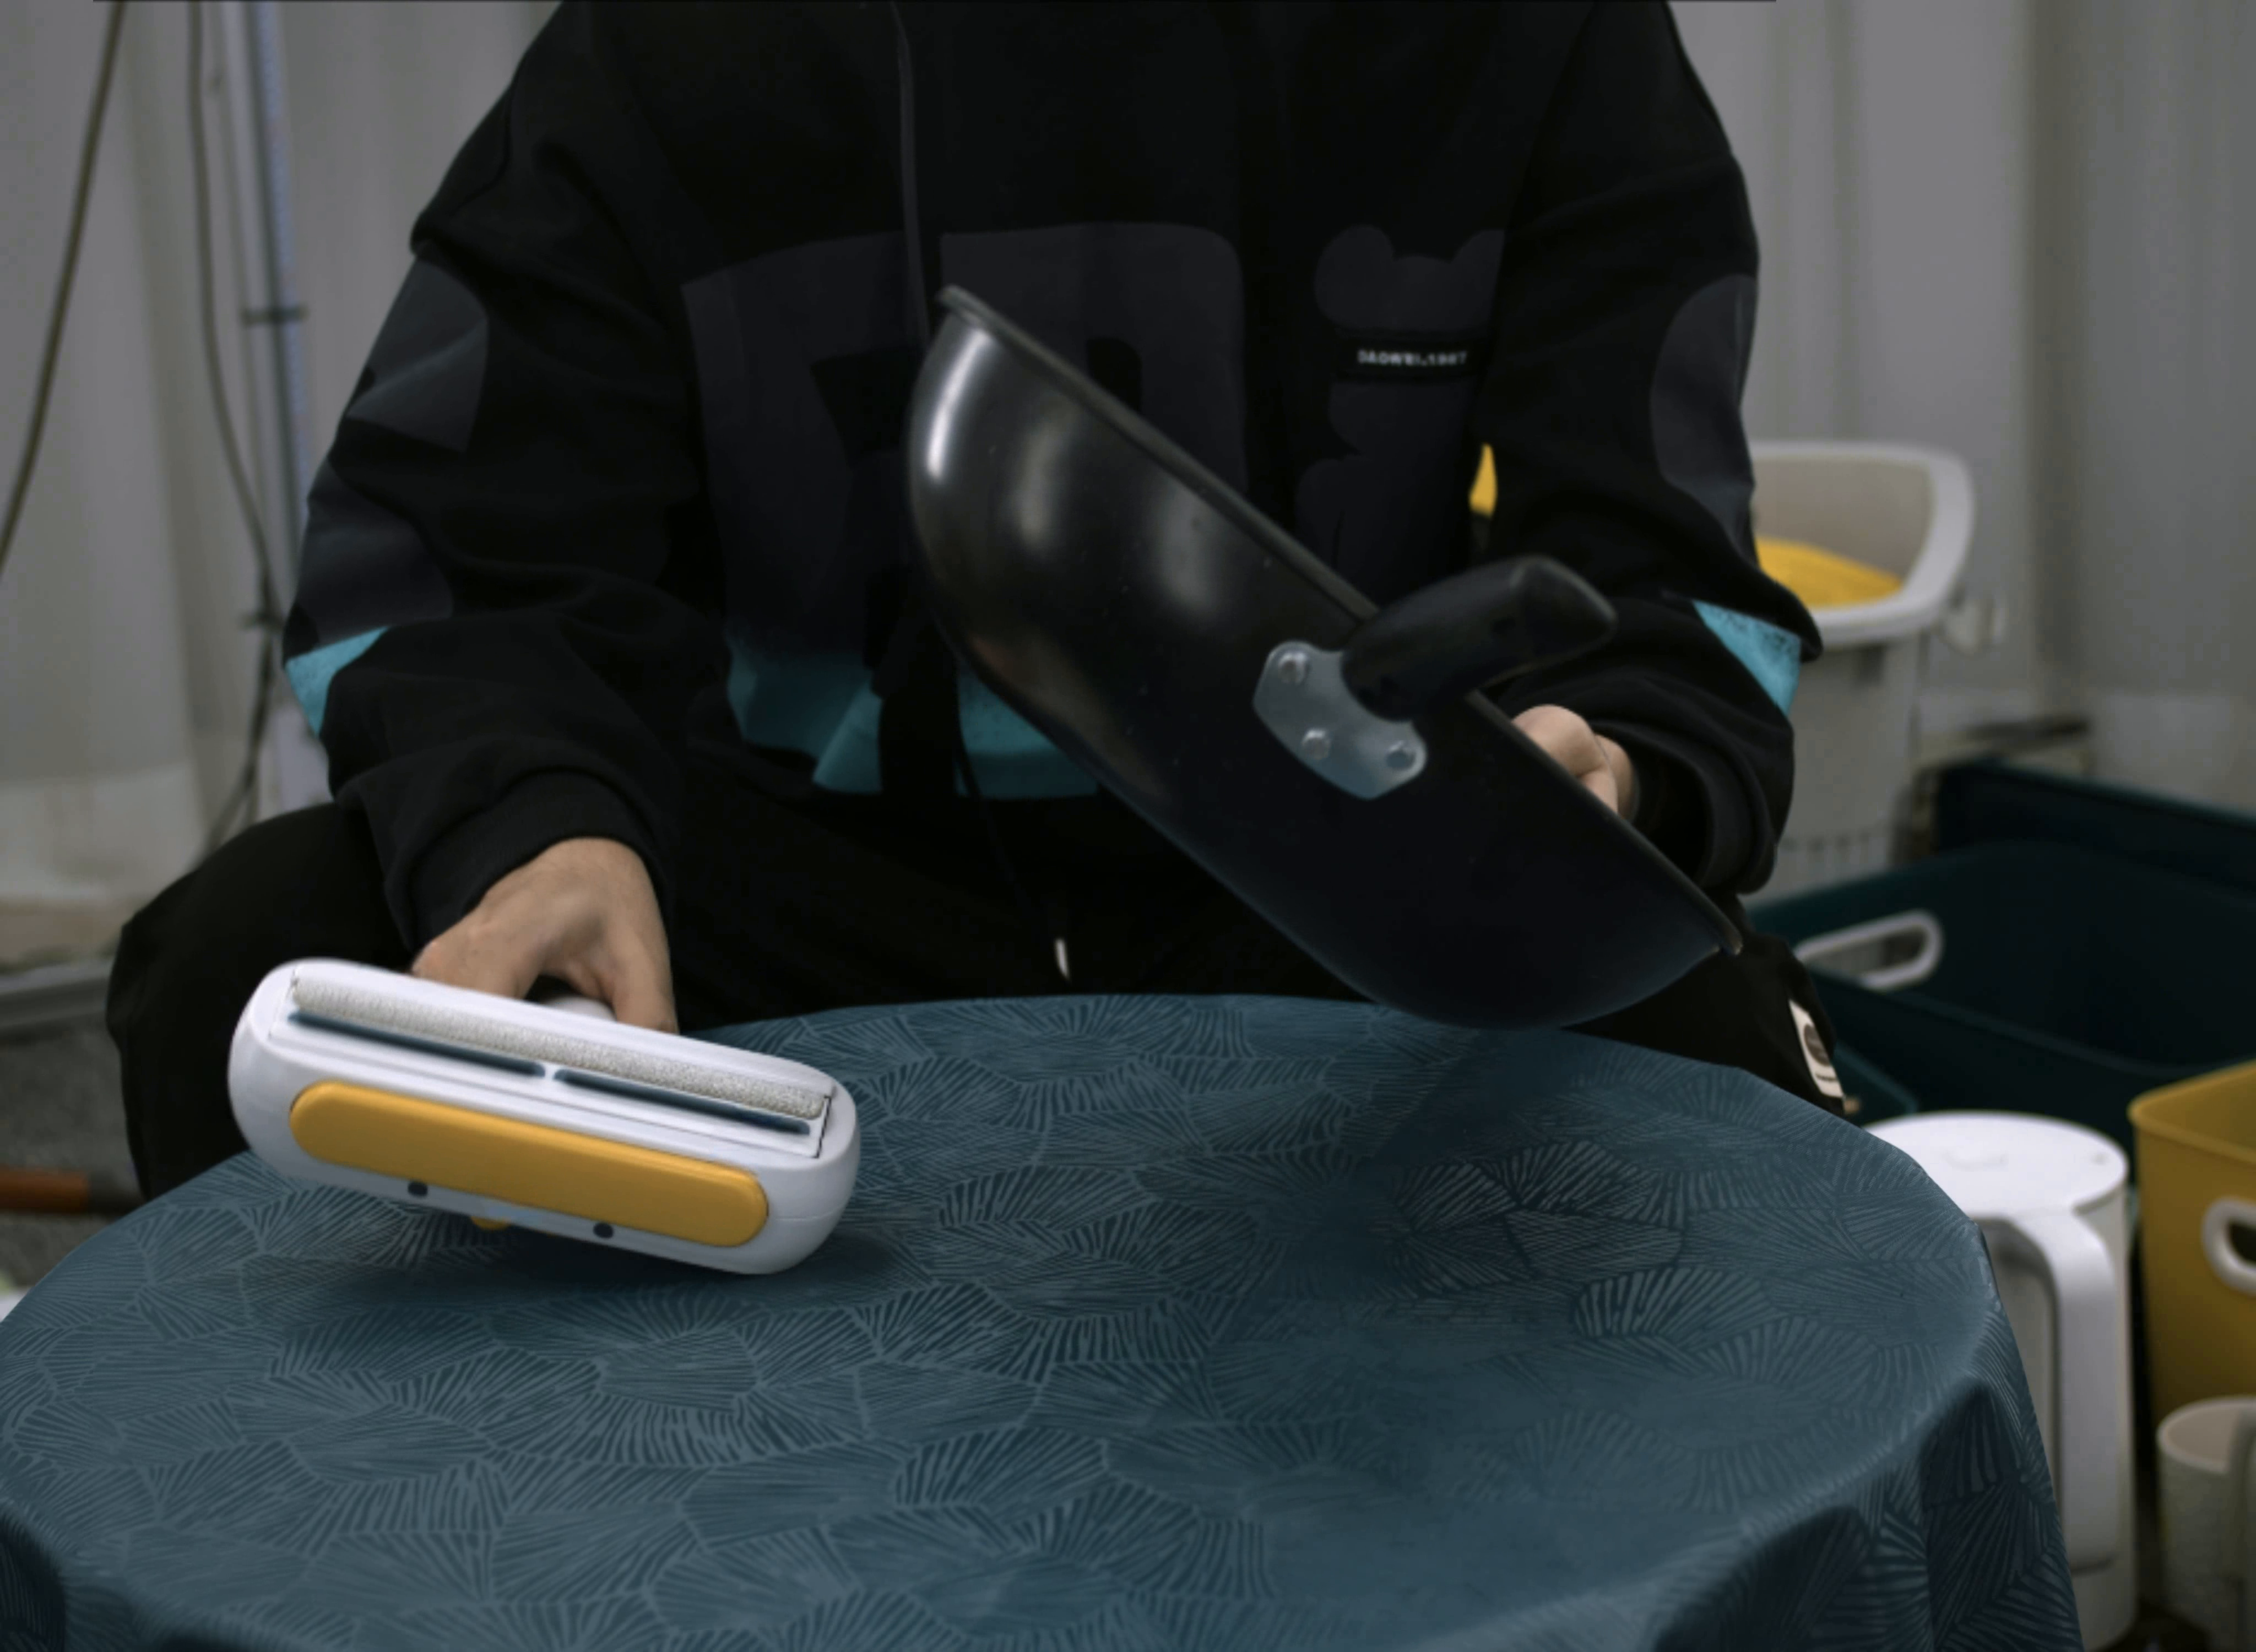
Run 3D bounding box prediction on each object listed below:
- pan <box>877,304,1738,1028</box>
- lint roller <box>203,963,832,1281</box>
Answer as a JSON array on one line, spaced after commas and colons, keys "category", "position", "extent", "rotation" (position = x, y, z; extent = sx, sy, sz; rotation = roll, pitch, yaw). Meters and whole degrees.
[{"category": "pan", "position": [0.049, -0.032, 1.554], "extent": [0.309, 0.112, 0.478], "rotation": [37, 0, -7]}, {"category": "lint roller", "position": [-0.181, 0.077, 1.720], "extent": [0.192, 0.074, 0.194], "rotation": [9, 20, 3]}]
